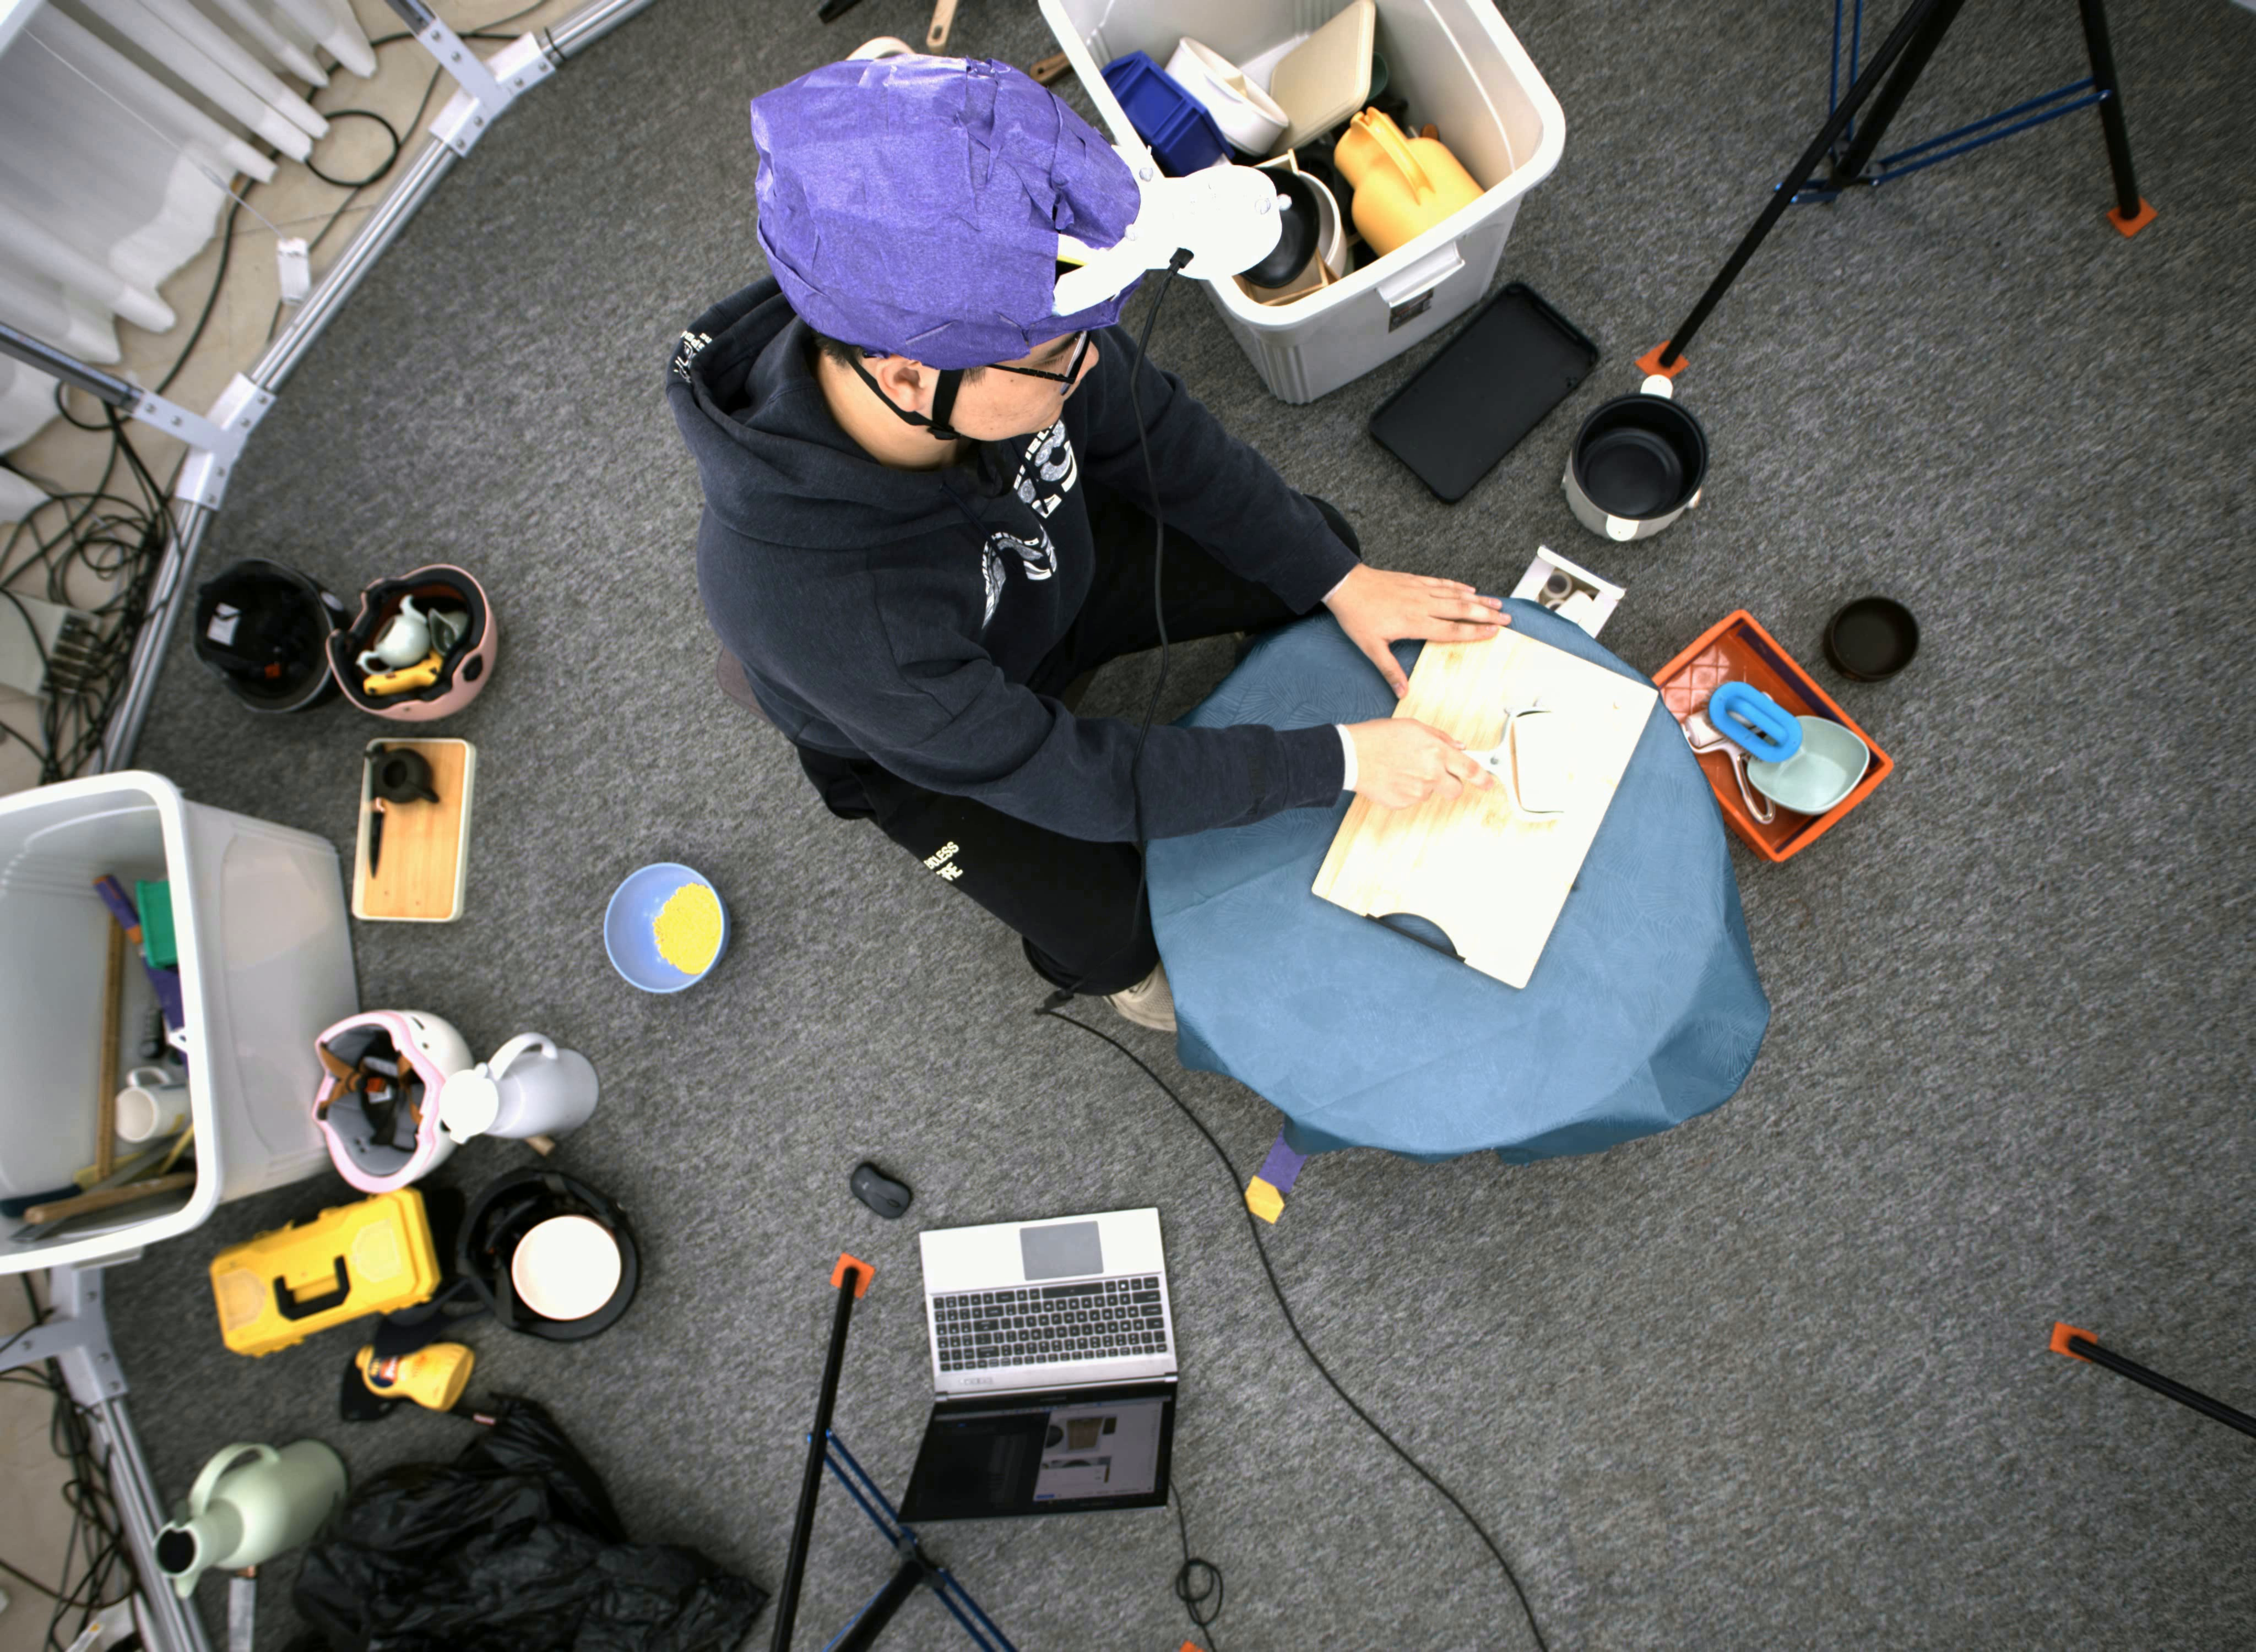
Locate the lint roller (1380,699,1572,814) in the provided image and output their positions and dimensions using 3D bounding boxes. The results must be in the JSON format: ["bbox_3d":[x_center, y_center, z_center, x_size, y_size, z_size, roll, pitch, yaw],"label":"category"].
[{"bbox_3d":[0.352,-0.071,1.383,0.197,0.049,0.116,-2,87,-12],"label":"lint roller"}]

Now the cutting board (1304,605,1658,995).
[{"bbox_3d":[0.369,-0.032,1.440,0.250,0.023,0.349,24,91,12],"label":"cutting board"}]
